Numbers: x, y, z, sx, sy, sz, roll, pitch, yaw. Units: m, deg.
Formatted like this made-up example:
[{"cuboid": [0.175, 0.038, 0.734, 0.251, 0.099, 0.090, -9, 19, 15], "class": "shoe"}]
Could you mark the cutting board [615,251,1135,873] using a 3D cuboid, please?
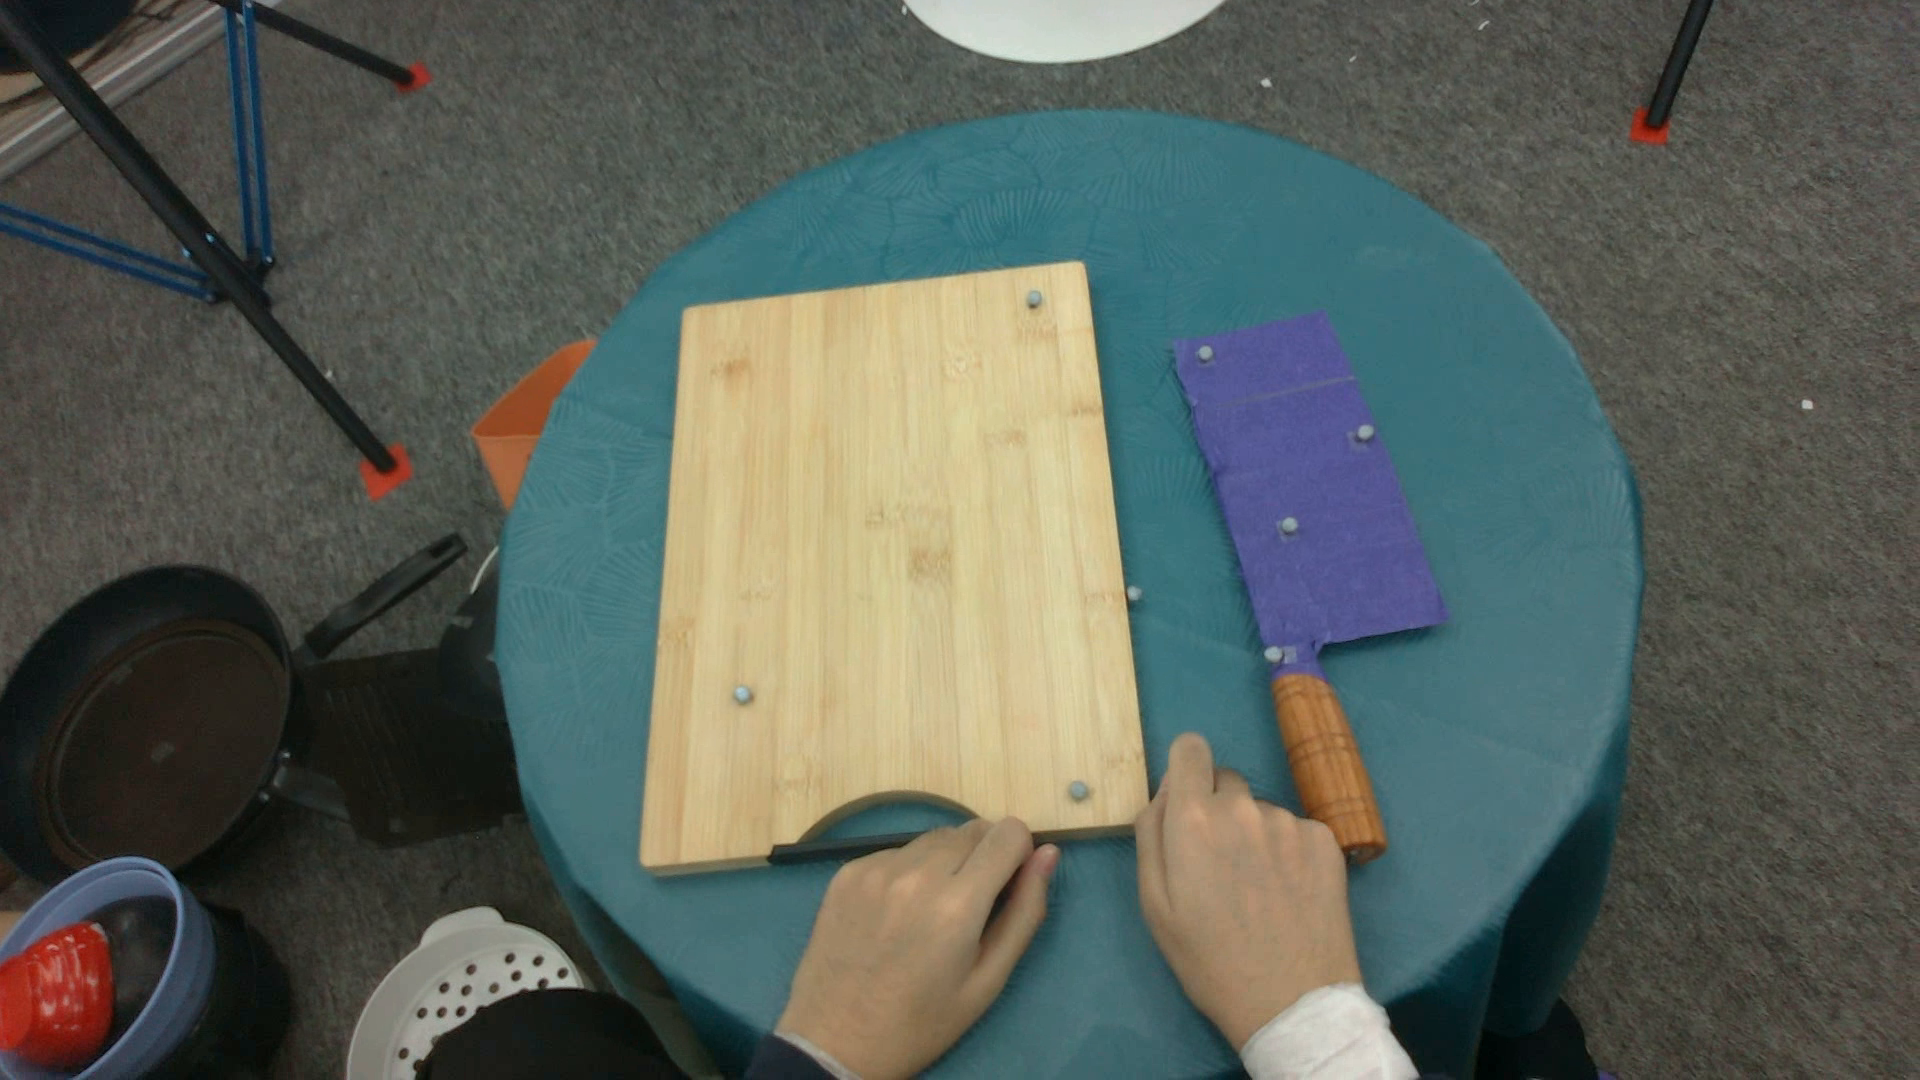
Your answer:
[{"cuboid": [-0.047, -0.006, 0.724, 0.250, 0.023, 0.350, -6, 60, 3], "class": "cutting board"}]

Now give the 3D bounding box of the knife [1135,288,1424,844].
[{"cuboid": [0.174, -0.007, 0.691, 0.104, 0.032, 0.316, -12, 59, 0], "class": "knife"}]
